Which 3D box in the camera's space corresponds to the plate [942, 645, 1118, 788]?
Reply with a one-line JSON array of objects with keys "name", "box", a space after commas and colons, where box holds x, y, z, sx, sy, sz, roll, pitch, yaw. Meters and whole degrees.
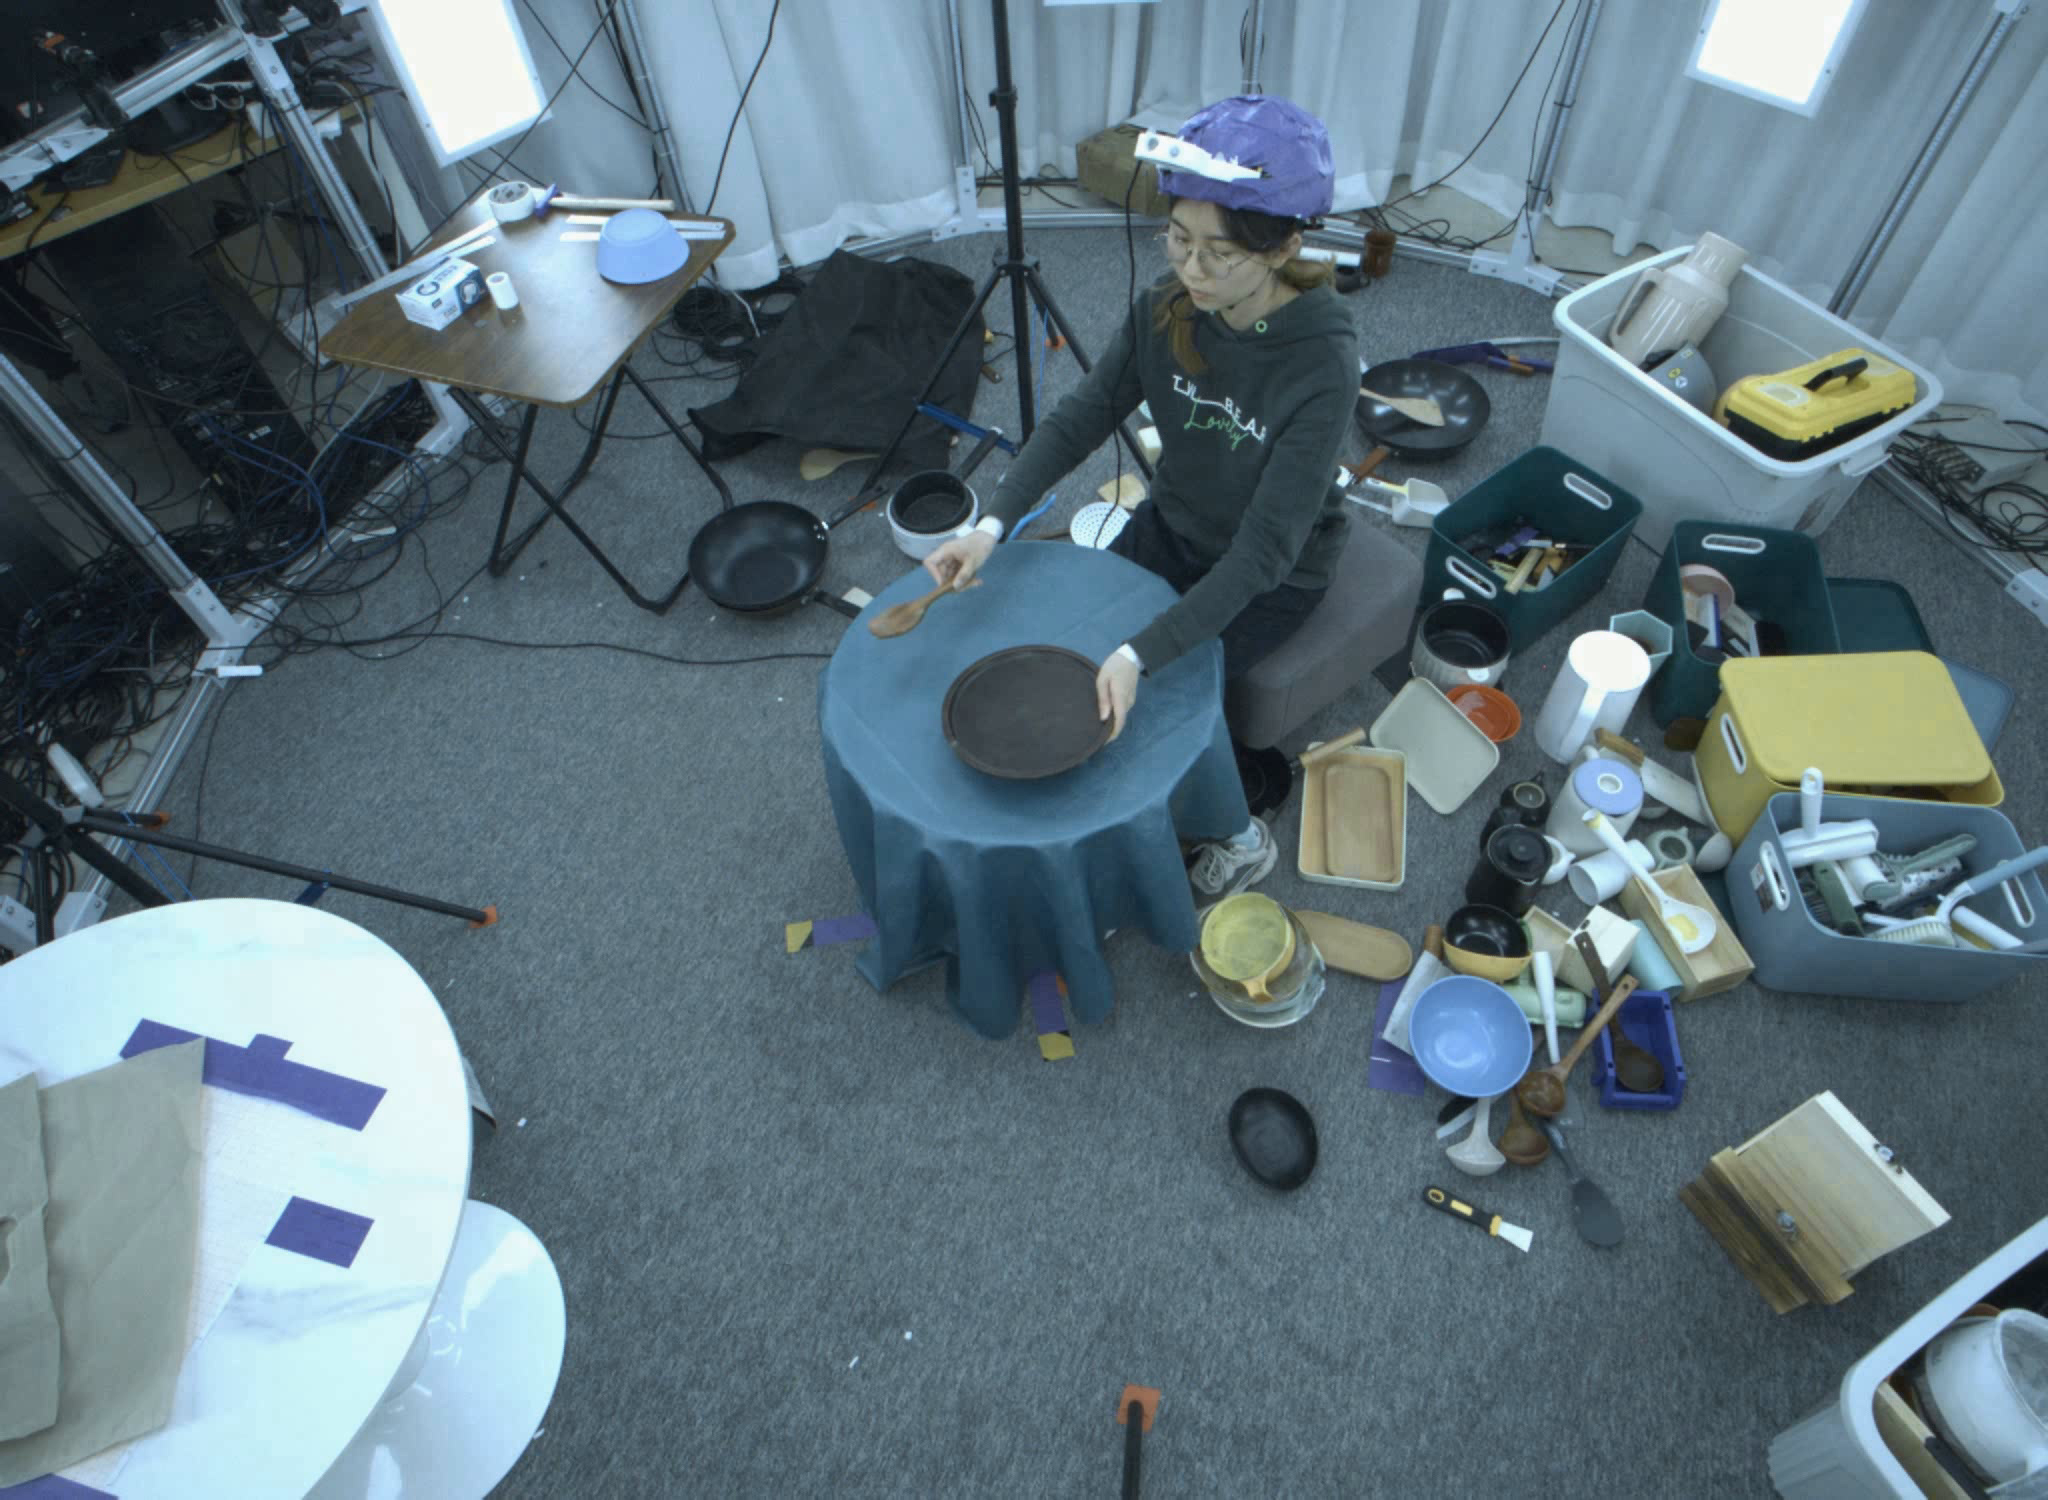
[{"name": "plate", "box": [0.009, -0.047, 1.766, 0.254, 0.029, 0.252, -2, 53, 4]}]

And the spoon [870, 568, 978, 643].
[{"name": "spoon", "box": [-0.146, -0.216, 1.844, 0.074, 0.017, 0.217, 21, 48, 35]}]
